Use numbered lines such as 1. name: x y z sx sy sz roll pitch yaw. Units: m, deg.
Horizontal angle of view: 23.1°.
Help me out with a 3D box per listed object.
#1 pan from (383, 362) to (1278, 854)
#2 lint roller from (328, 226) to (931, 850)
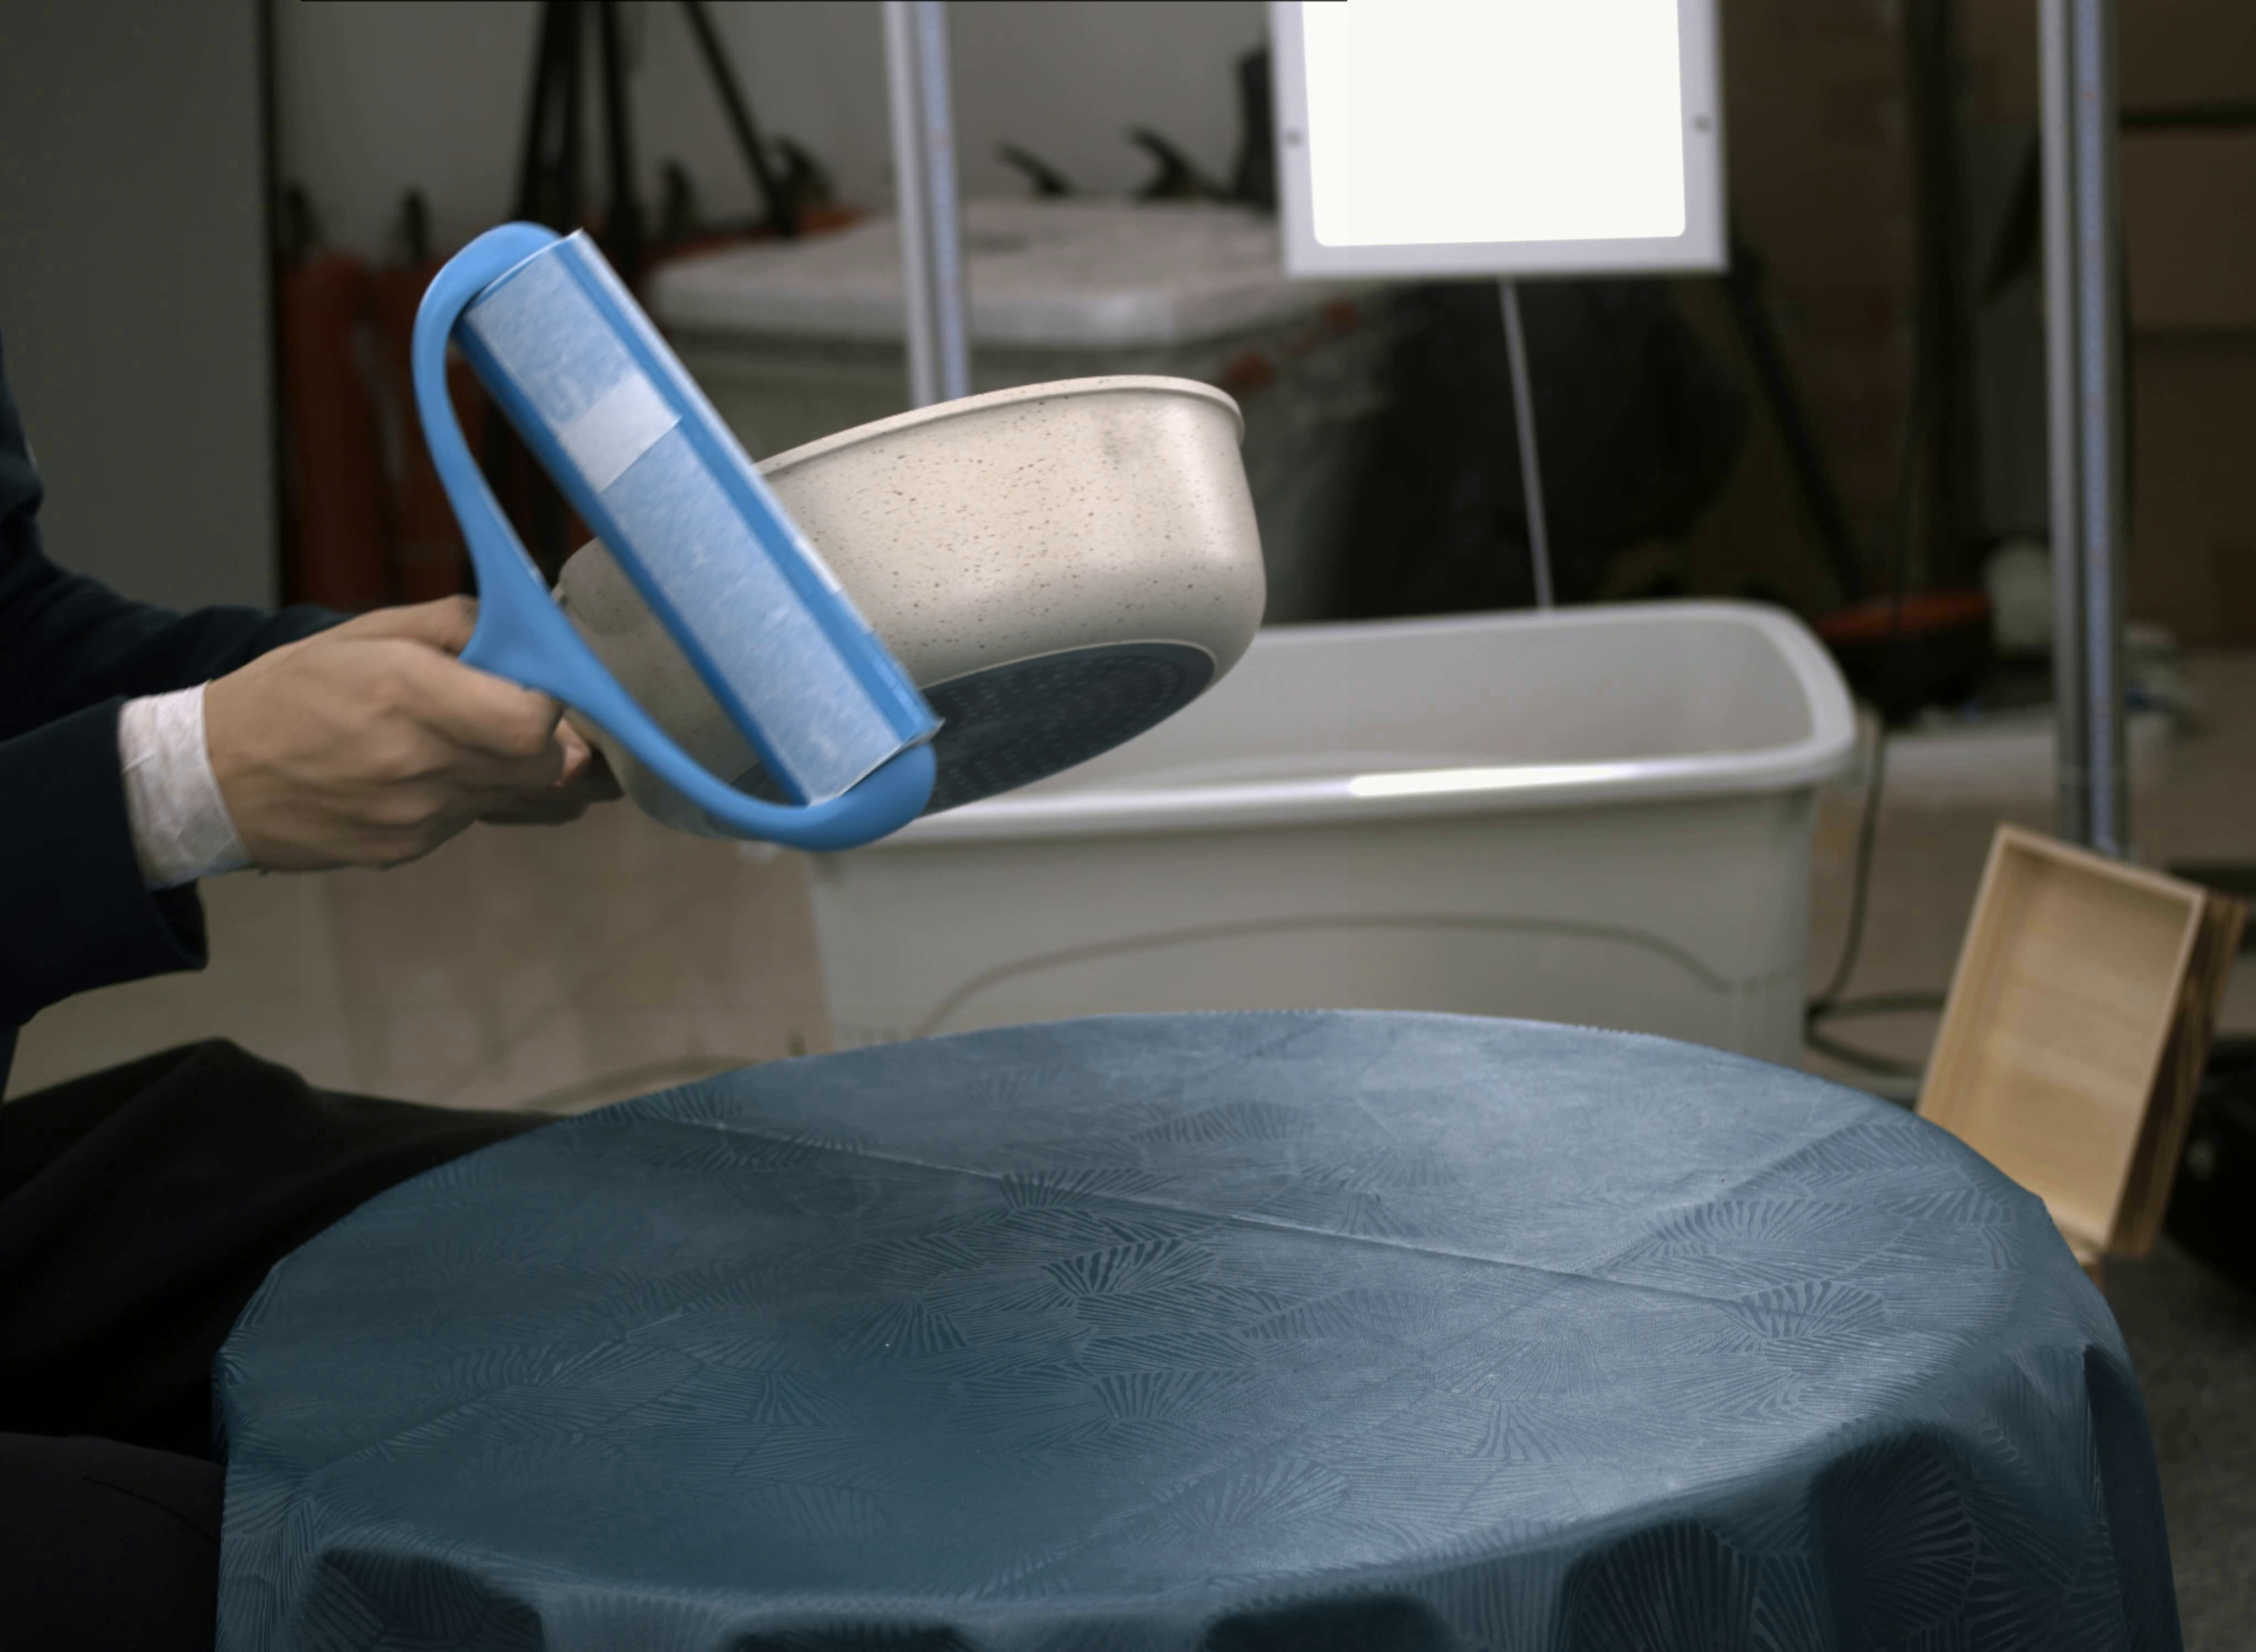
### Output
1. pan: -0.124 -0.040 1.946 0.256 0.102 0.444 -8 -16 -43
2. lint roller: -0.185 -0.055 1.738 0.181 0.229 0.067 -40 -2 10
